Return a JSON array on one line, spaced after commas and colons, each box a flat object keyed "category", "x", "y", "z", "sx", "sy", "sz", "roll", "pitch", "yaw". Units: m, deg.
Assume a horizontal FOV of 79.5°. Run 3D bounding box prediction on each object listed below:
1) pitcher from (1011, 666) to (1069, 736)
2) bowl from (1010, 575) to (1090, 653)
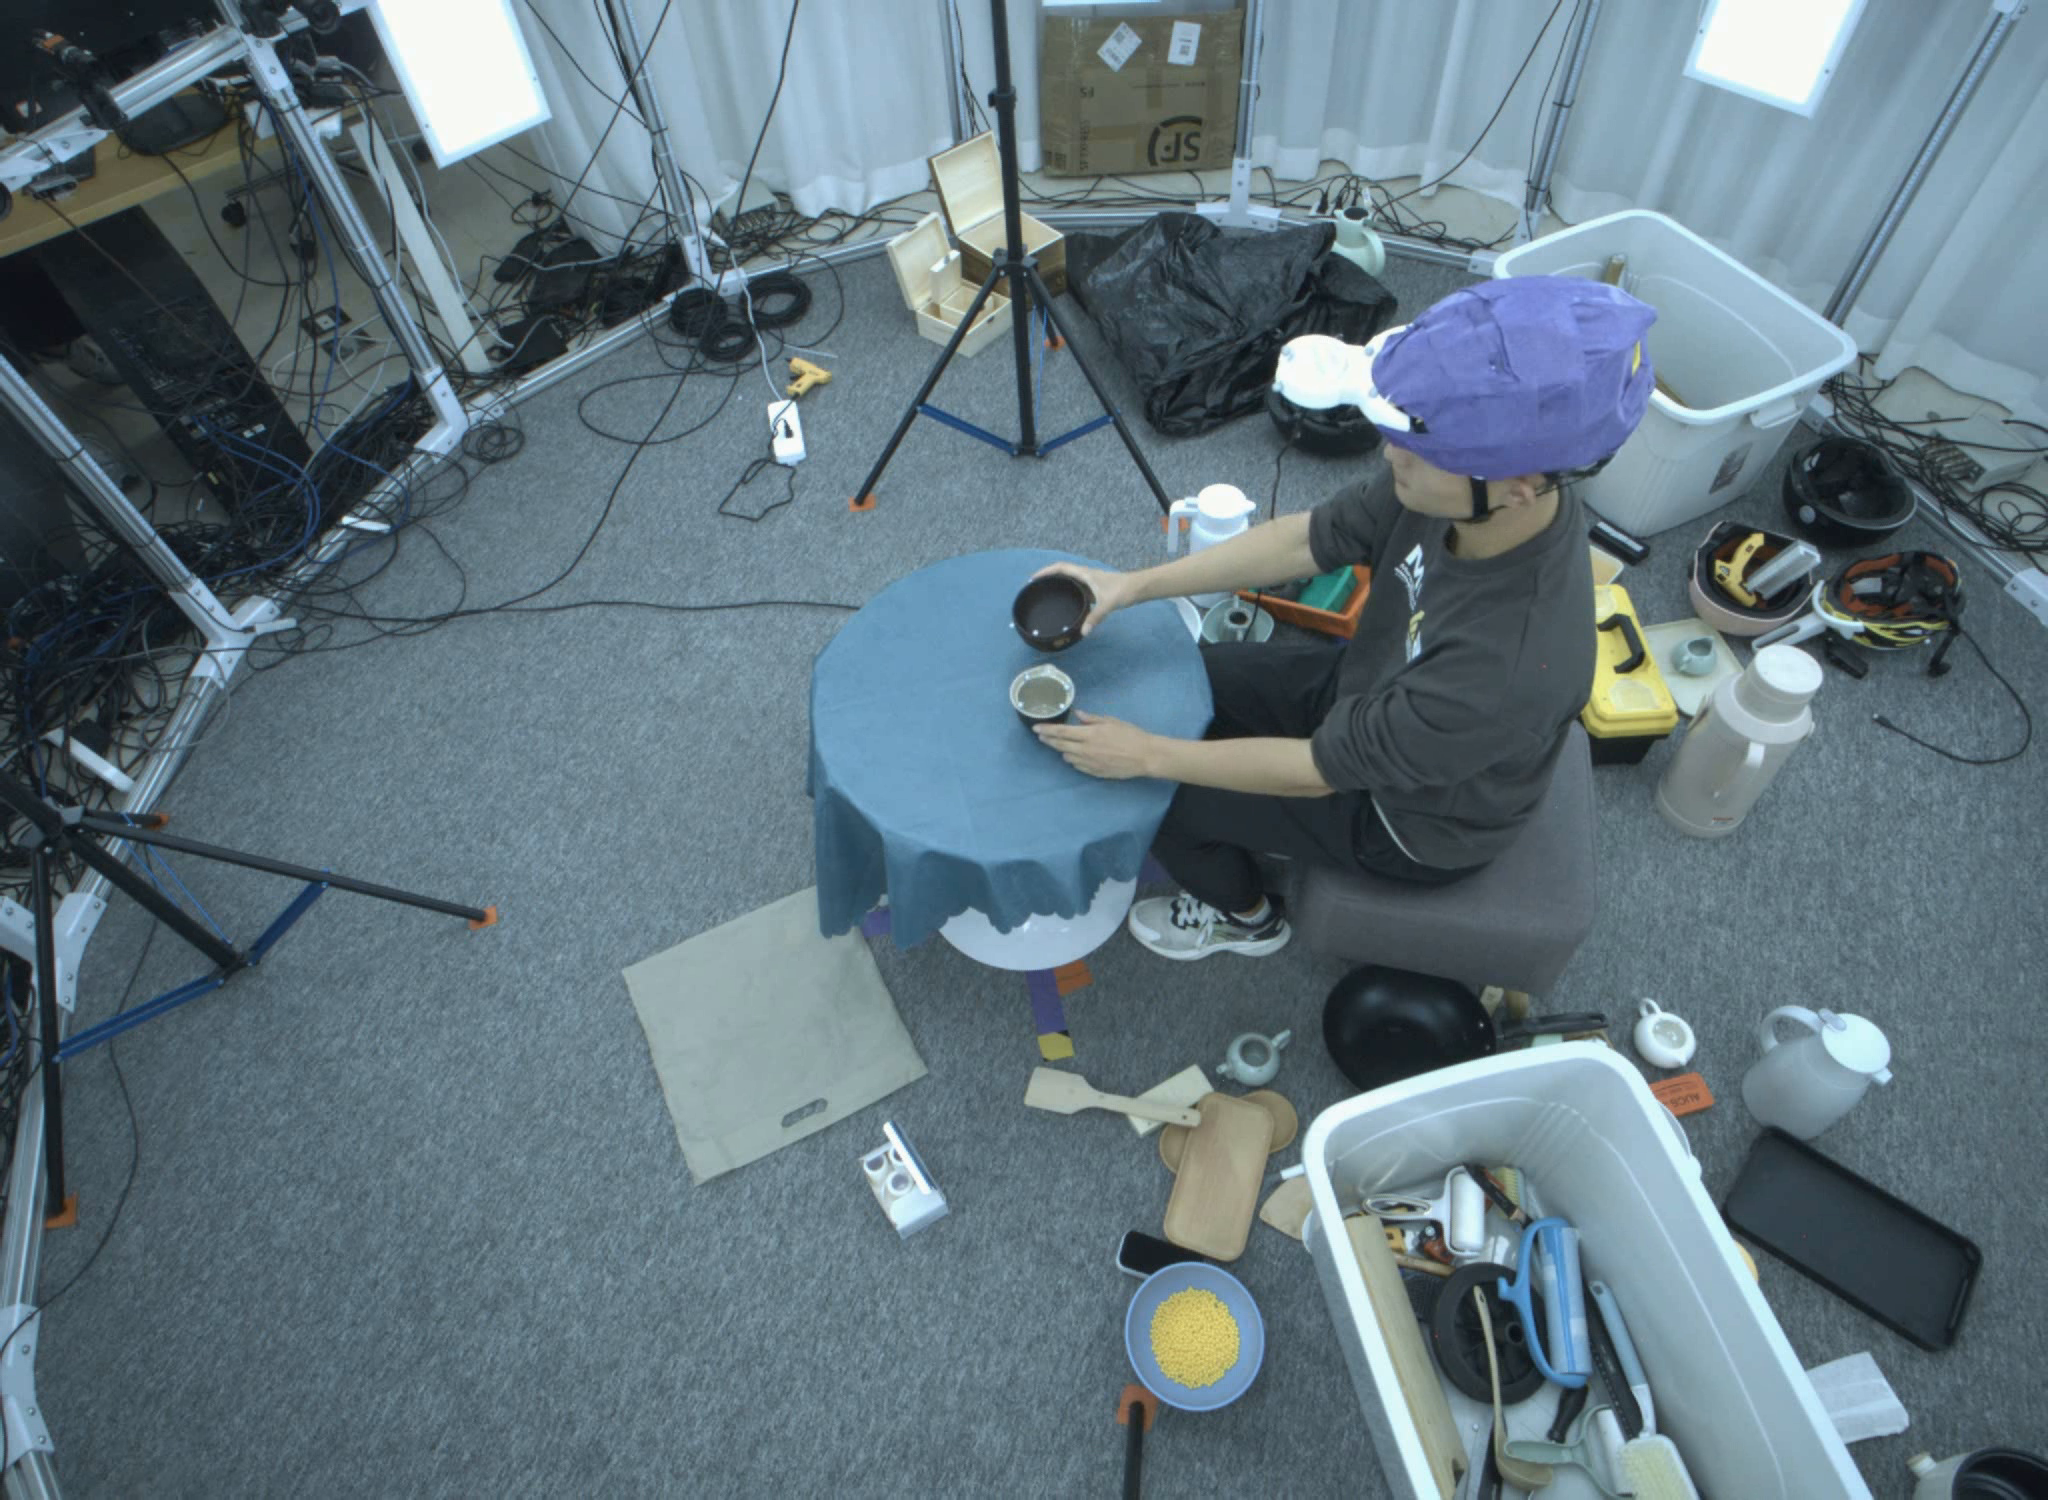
[{"category": "pitcher", "x": 0.026, "y": -0.065, "z": 1.786, "sx": 0.083, "sy": 0.072, "sz": 0.096, "roll": 12, "pitch": 55, "yaw": 13}, {"category": "bowl", "x": 0.042, "y": -0.195, "z": 1.830, "sx": 0.117, "sy": 0.071, "sz": 0.117, "roll": -5, "pitch": 60, "yaw": 10}]
